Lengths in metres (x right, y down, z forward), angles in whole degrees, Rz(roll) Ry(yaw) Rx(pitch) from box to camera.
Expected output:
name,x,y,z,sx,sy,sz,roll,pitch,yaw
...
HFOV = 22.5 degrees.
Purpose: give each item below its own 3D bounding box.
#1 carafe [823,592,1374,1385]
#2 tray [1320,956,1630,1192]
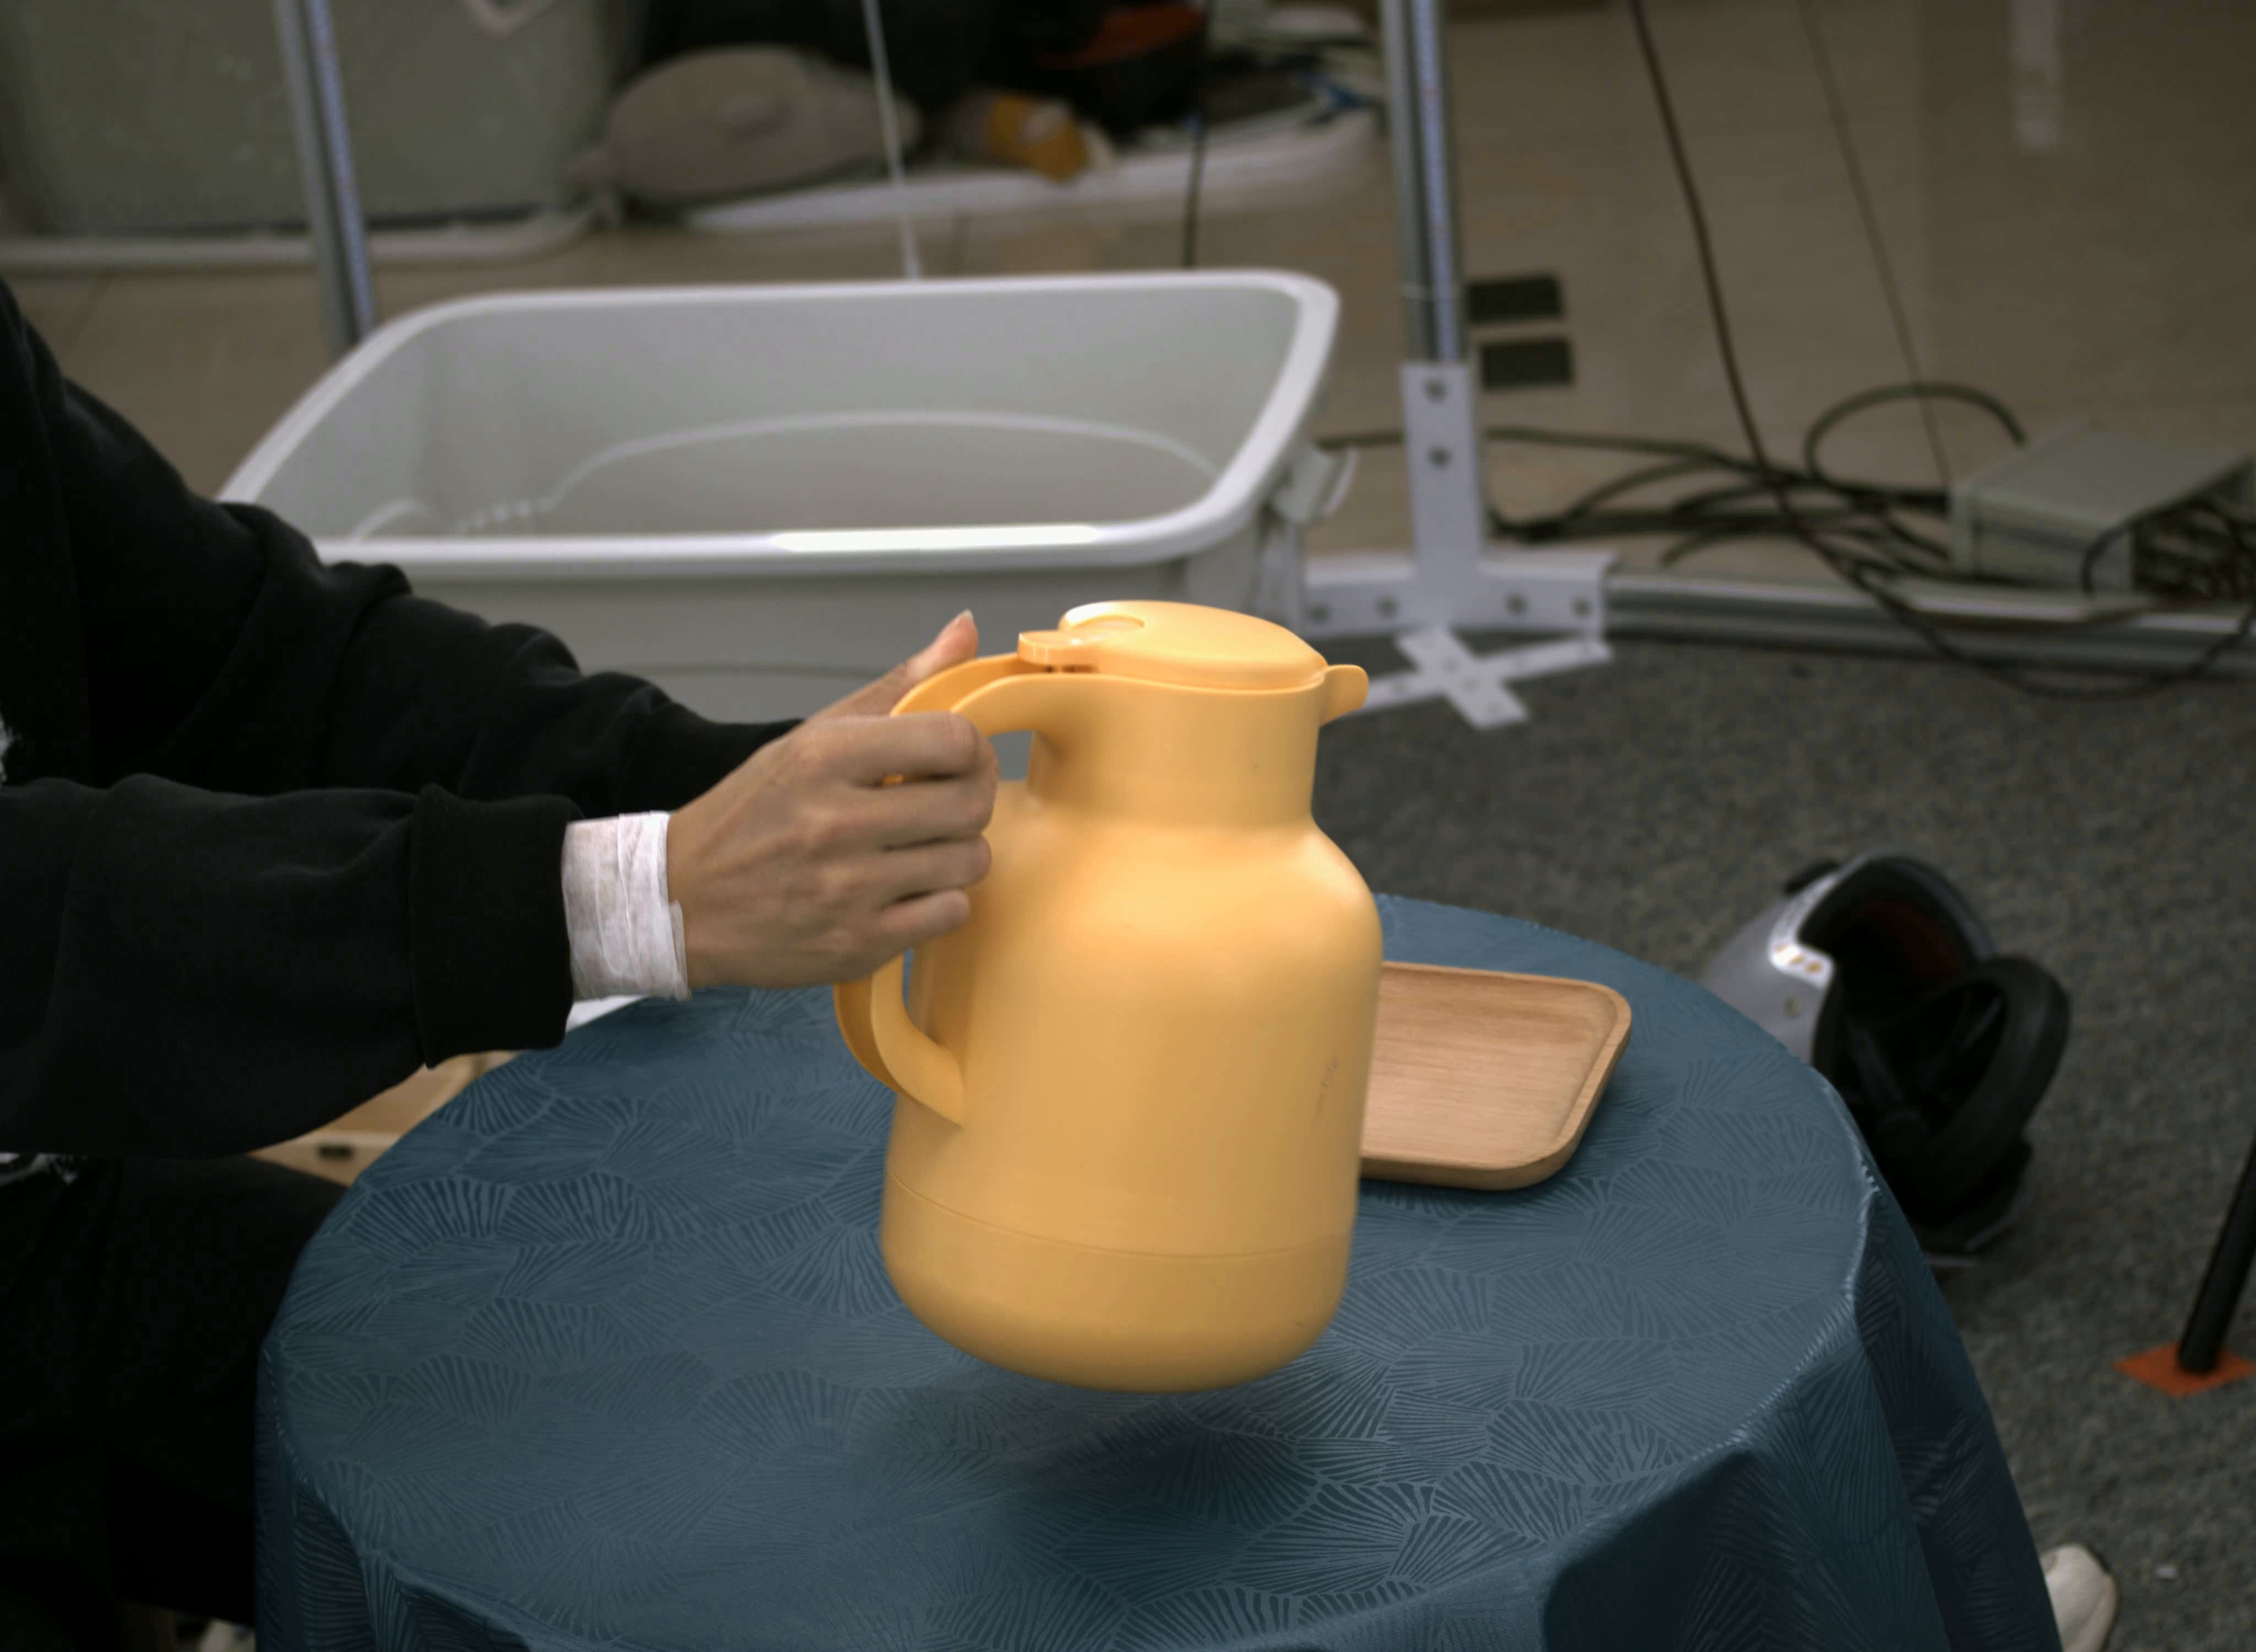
name,x,y,z,sx,sy,sz,roll,pitch,yaw
carafe,-0.015,0.051,1.932,0.202,0.263,0.162,1,14,-33
tray,0.064,0.091,2.196,0.250,0.023,0.128,5,33,23
